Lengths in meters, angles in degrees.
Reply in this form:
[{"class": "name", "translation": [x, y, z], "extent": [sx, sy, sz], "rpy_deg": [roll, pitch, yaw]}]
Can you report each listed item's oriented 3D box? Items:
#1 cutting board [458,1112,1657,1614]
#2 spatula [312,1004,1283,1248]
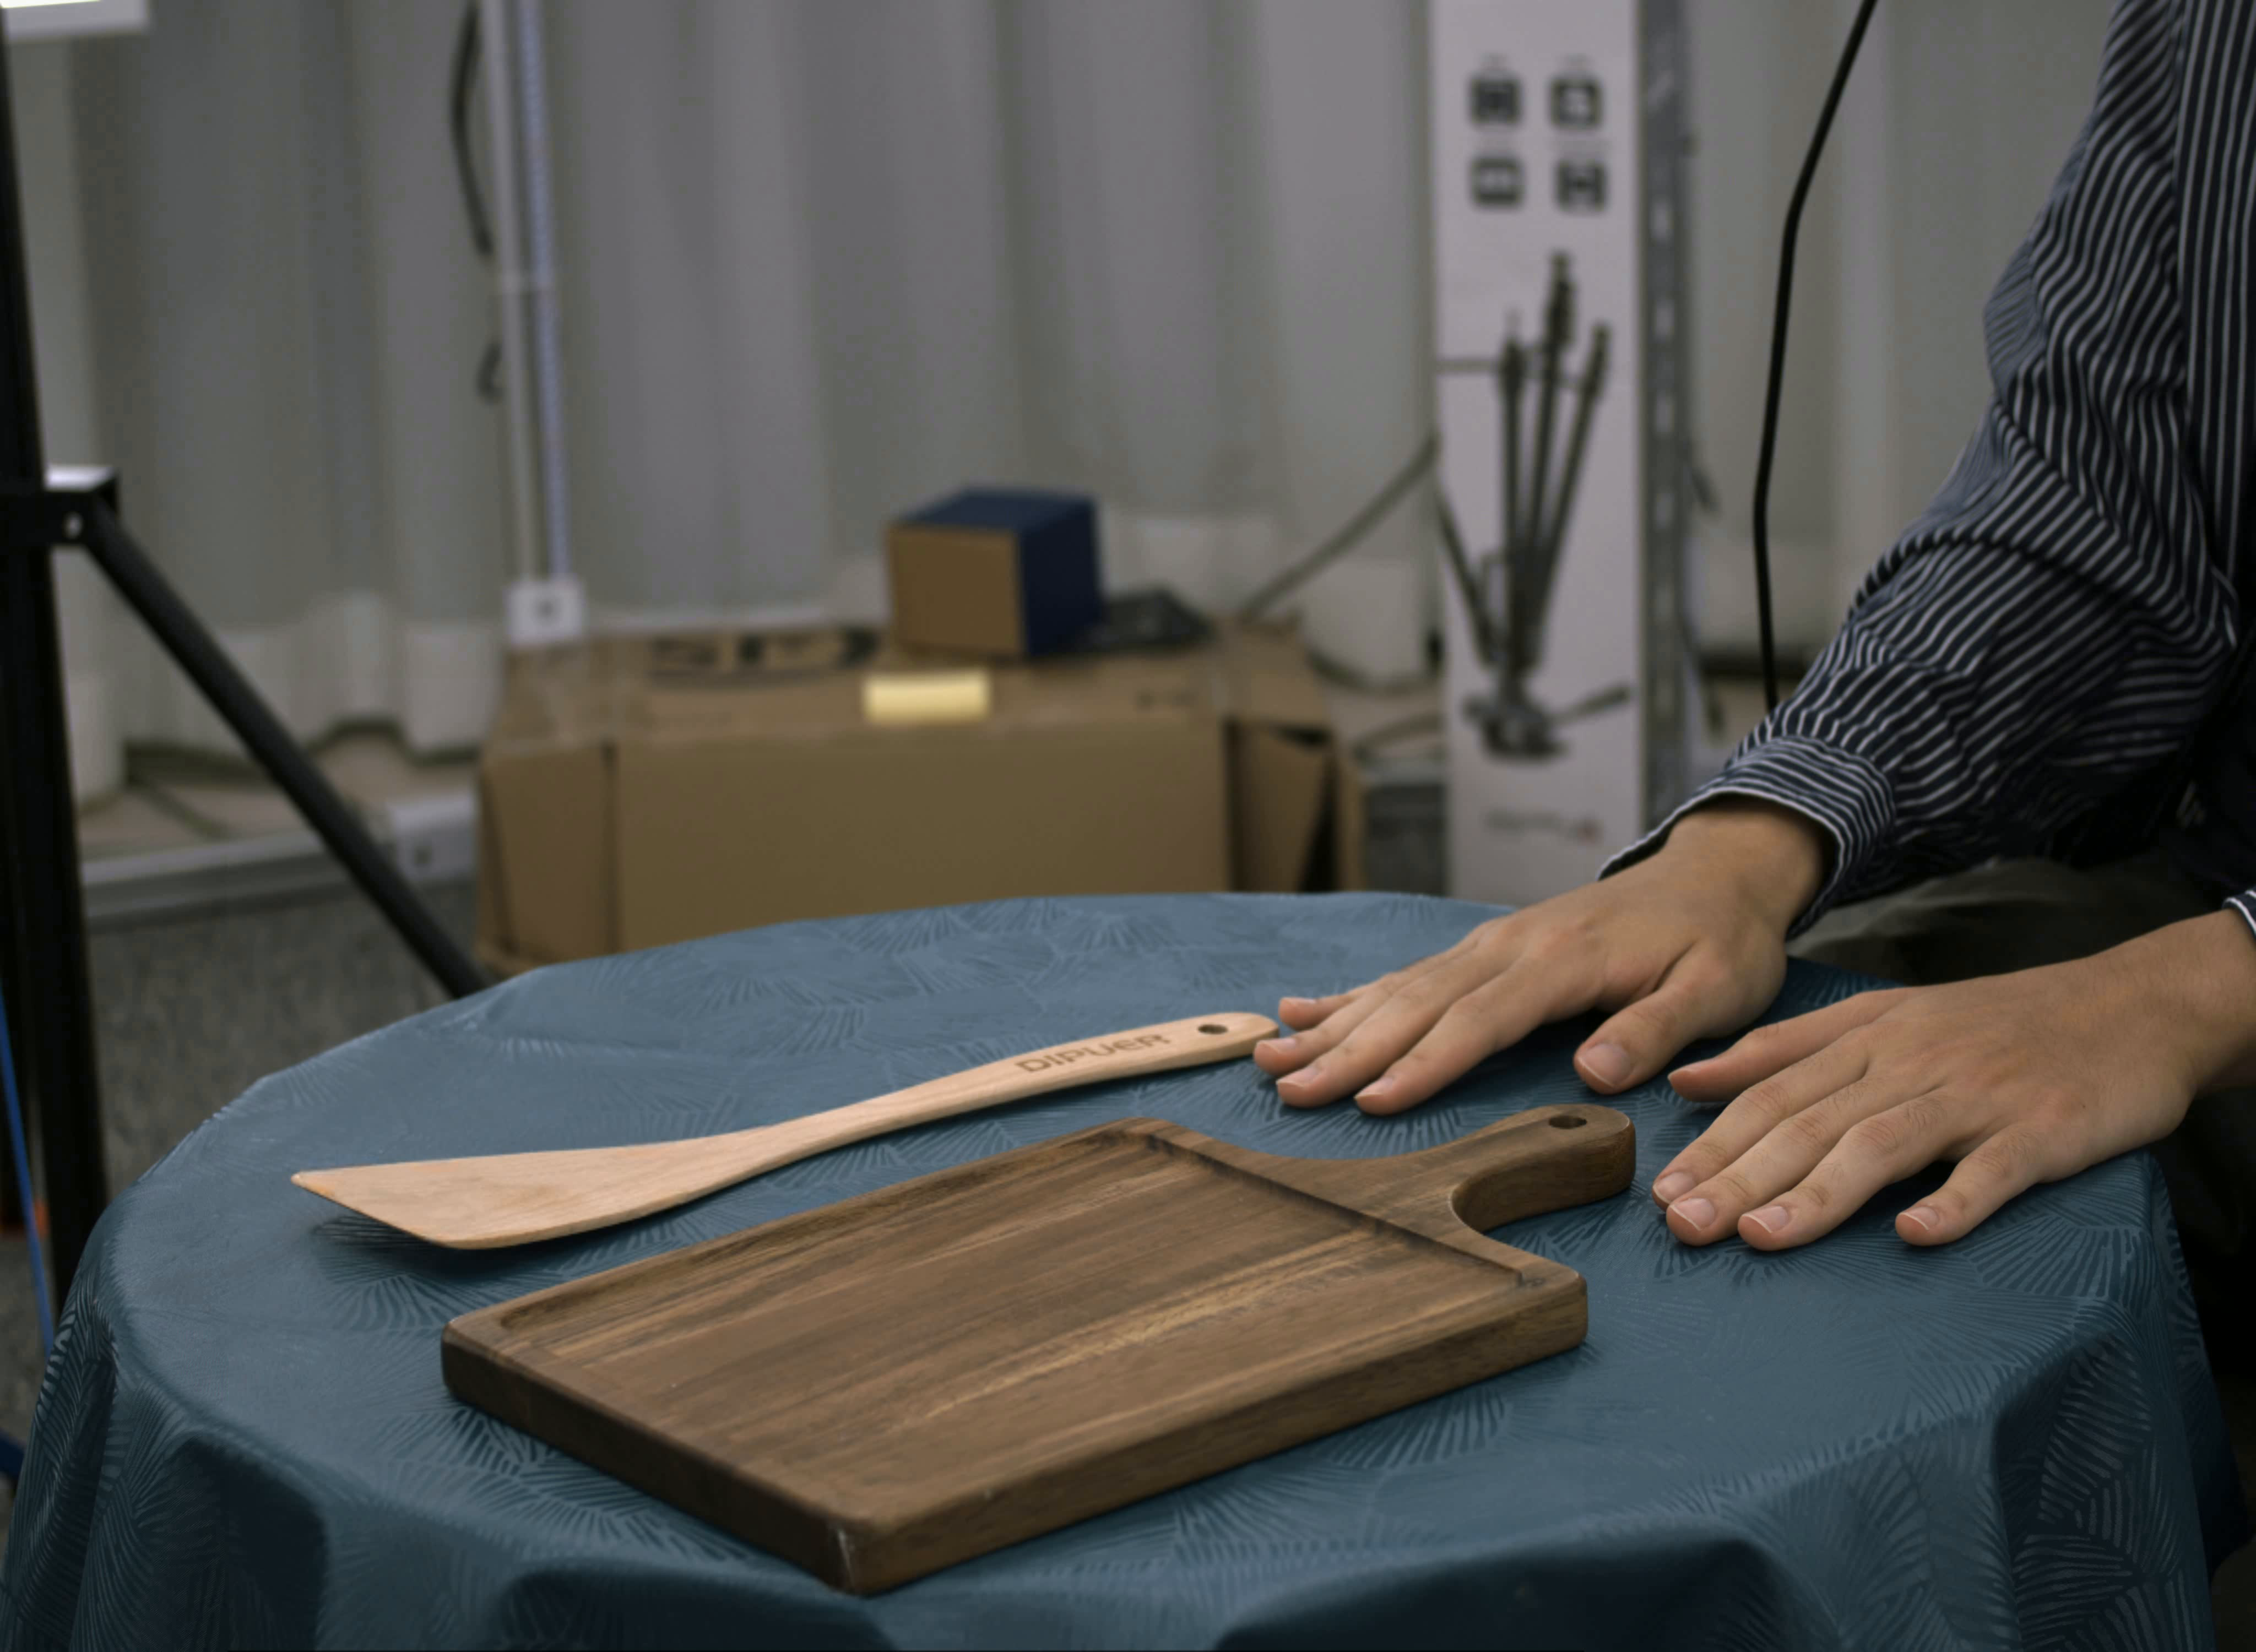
[{"class": "cutting board", "translation": [0.014, 0.129, 1.448], "extent": [0.344, 0.023, 0.206], "rpy_deg": [-14, 20, -35]}, {"class": "spatula", "translation": [-0.086, 0.087, 1.618], "extent": [0.320, 0.016, 0.082], "rpy_deg": [-13, 20, -31]}]
